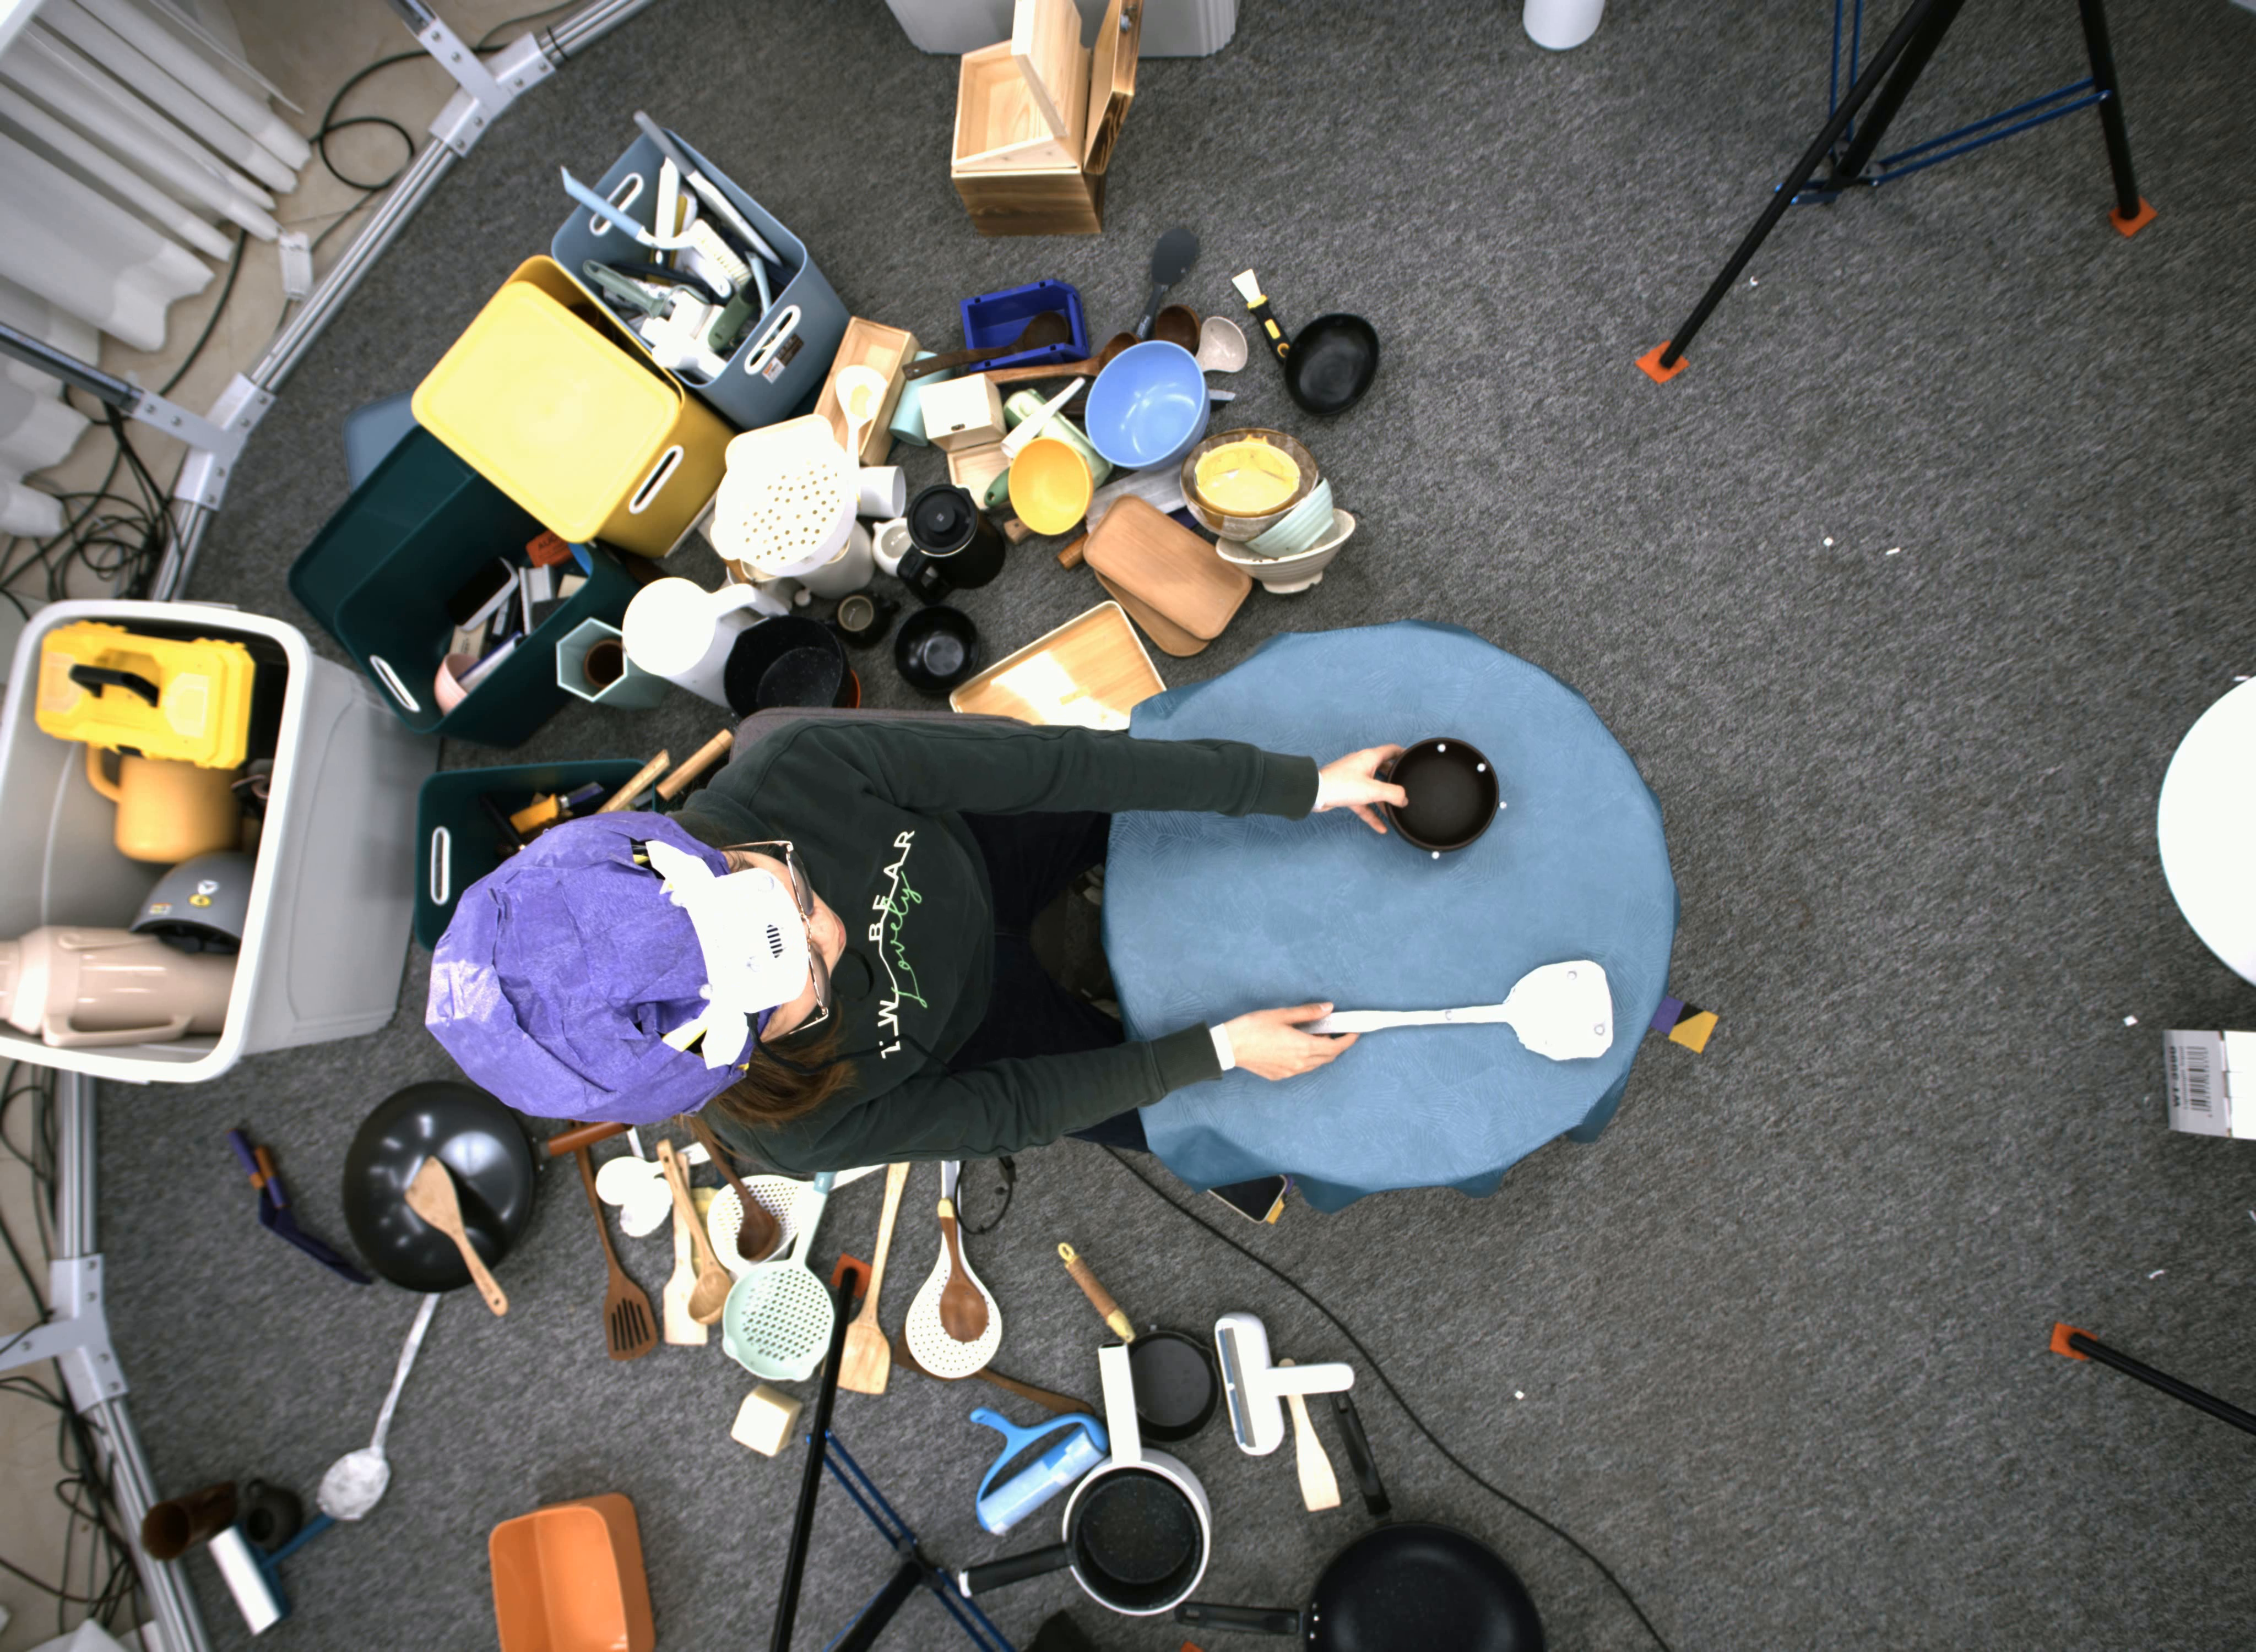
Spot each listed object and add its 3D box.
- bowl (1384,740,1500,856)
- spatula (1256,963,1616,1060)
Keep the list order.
[{"bbox_3d":[0.324,-0.028,1.425,0.118,0.070,0.117,-1,84,10],"label":"bowl"},{"bbox_3d":[0.313,0.194,1.428,0.366,0.045,0.098,-3,86,9],"label":"spatula"}]
